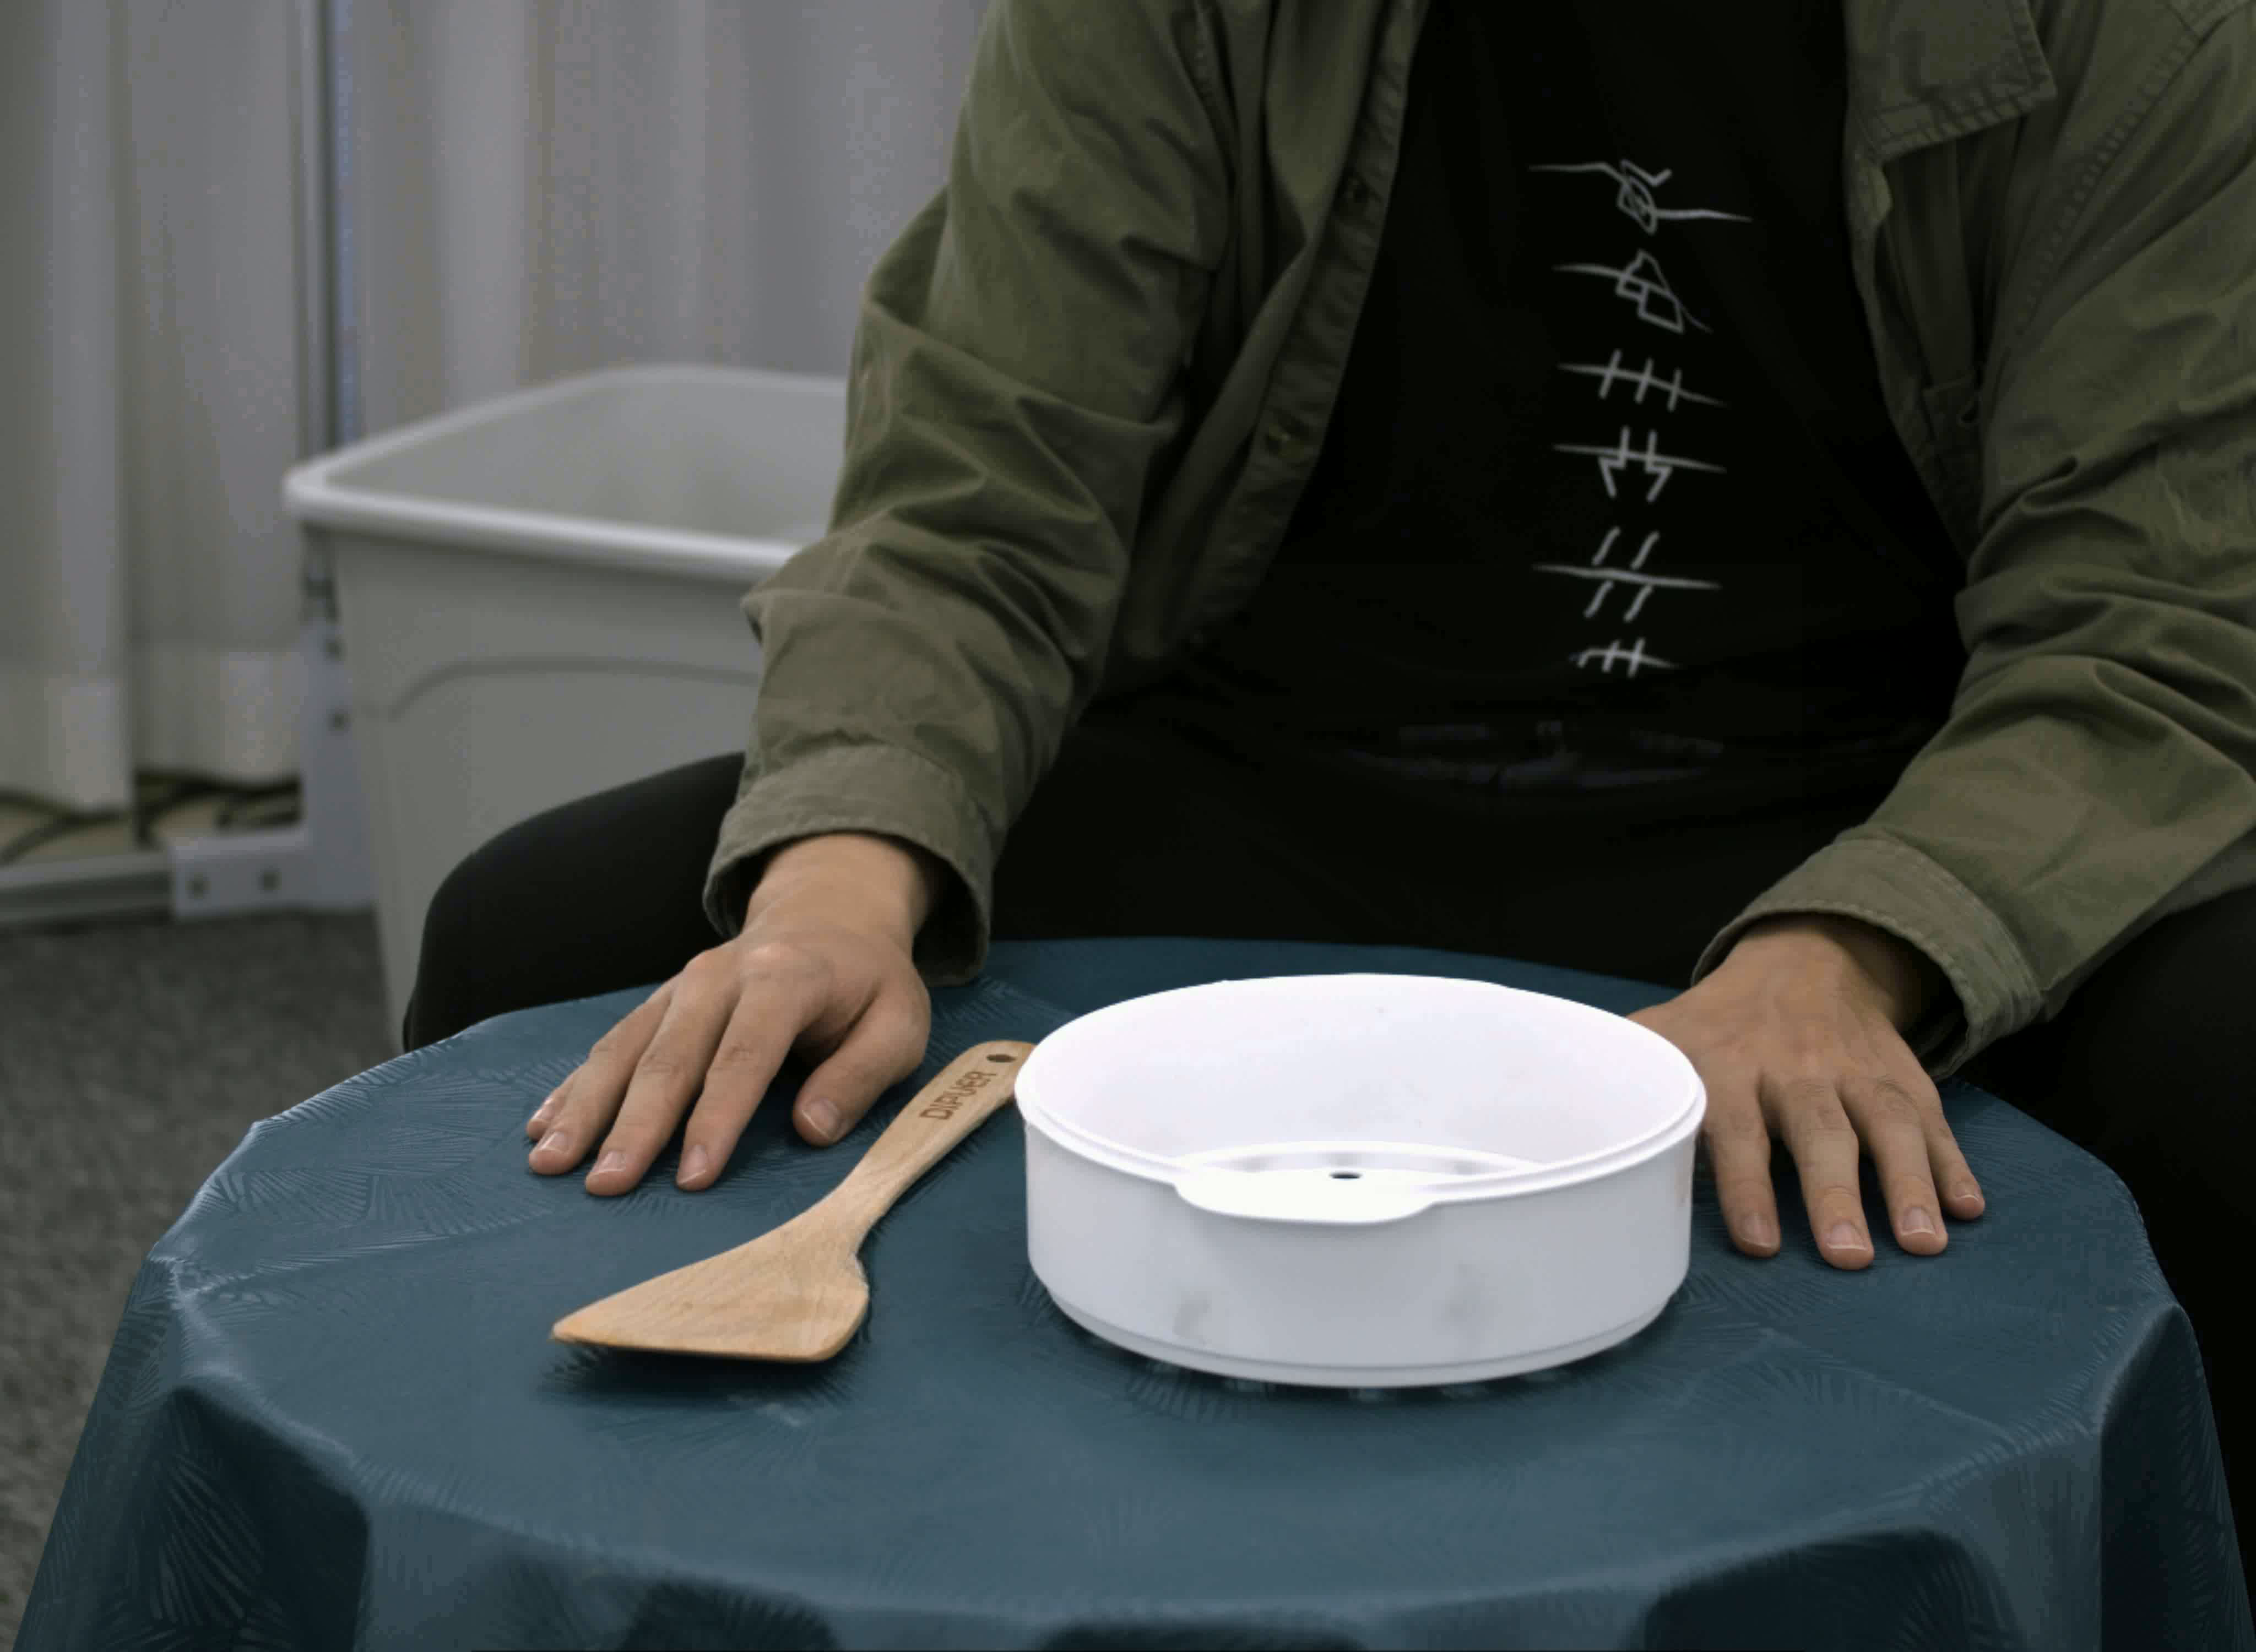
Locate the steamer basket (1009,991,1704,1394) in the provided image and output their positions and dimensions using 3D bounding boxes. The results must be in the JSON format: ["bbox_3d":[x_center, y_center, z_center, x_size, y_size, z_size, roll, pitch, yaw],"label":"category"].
[{"bbox_3d":[0.066,0.106,1.534,0.200,0.070,0.230,4,14,11],"label":"steamer basket"}]

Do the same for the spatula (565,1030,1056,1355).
[{"bbox_3d":[-0.077,0.108,1.609,0.079,0.016,0.327,5,16,15],"label":"spatula"}]
